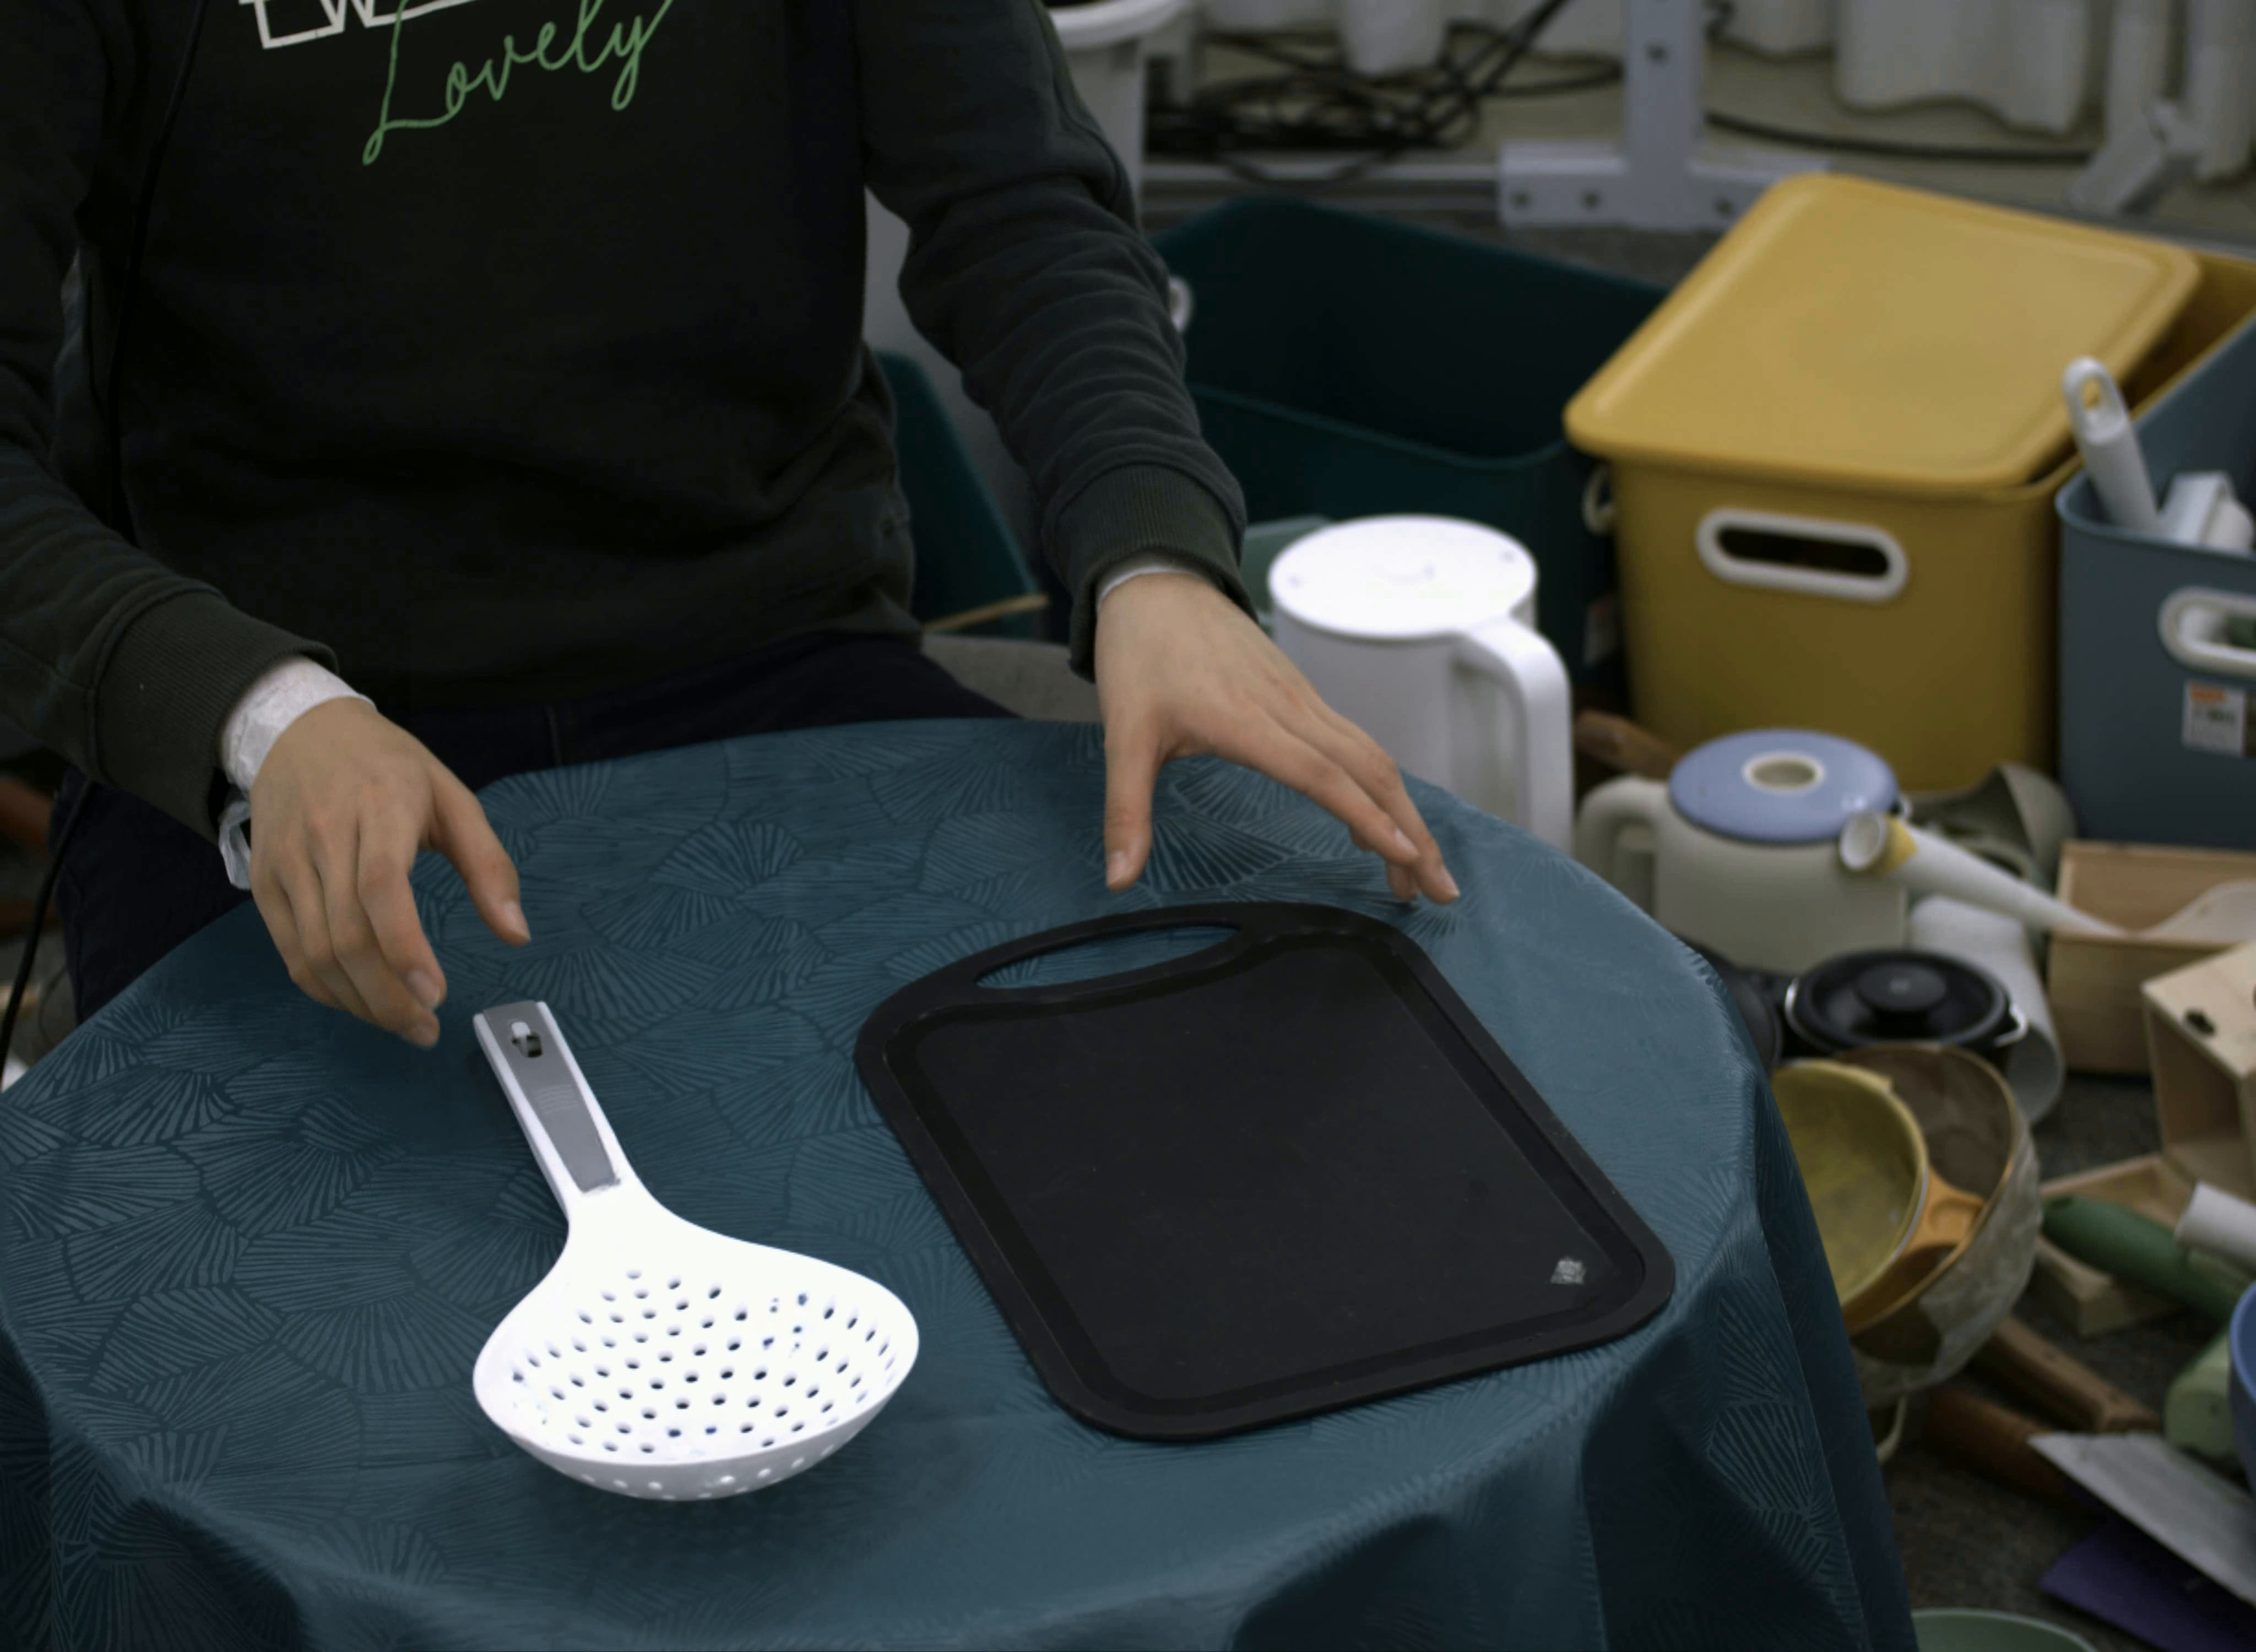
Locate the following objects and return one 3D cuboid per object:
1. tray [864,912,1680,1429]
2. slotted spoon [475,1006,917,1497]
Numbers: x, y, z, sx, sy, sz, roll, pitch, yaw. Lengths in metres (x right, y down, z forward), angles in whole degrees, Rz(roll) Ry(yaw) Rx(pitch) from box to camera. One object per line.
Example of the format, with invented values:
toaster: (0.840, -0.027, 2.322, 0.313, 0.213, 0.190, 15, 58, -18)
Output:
tray: (0.038, 0.105, 1.881, 0.211, 0.009, 0.328, -11, 28, -15)
slotted spoon: (-0.164, 0.131, 1.811, 0.136, 0.045, 0.353, -8, 27, -15)
